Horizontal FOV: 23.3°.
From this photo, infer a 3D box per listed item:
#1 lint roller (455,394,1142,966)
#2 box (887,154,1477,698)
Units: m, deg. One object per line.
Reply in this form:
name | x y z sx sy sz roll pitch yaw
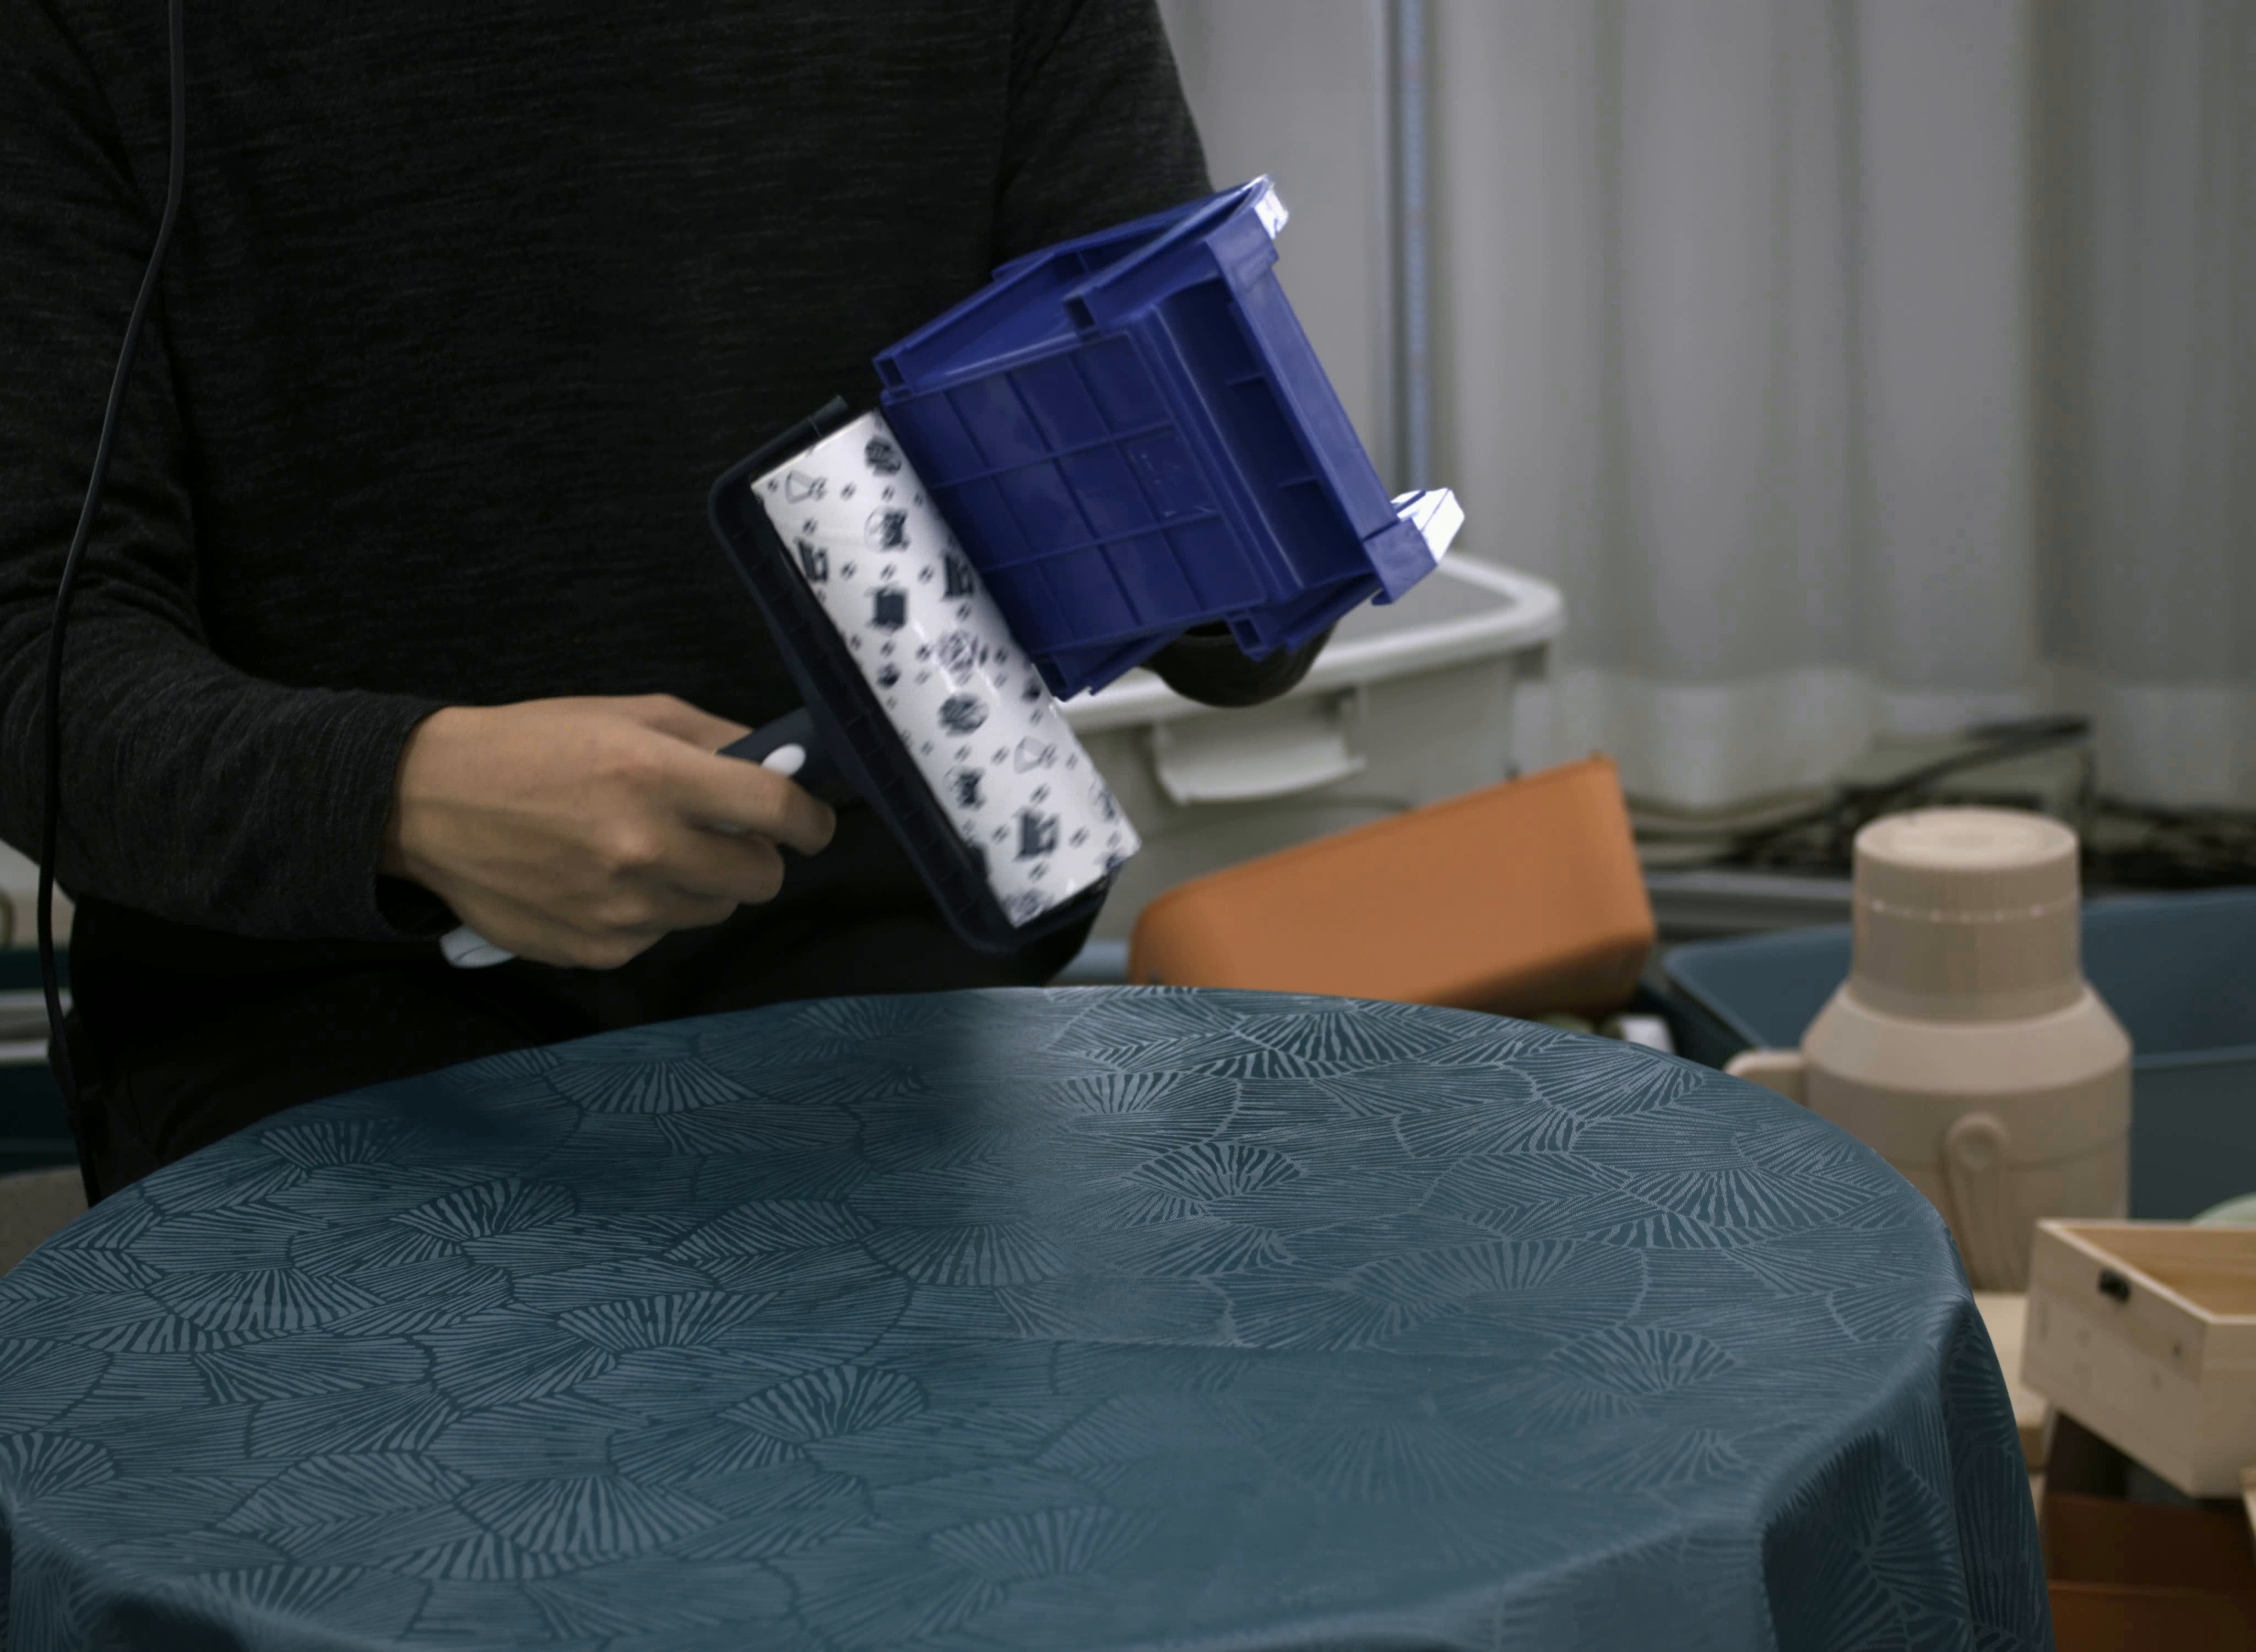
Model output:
lint roller | -0.129 -0.008 1.744 0.246 0.176 0.050 -31 4 30
box | 0.019 -0.119 1.658 0.082 0.124 0.179 -35 13 -35
